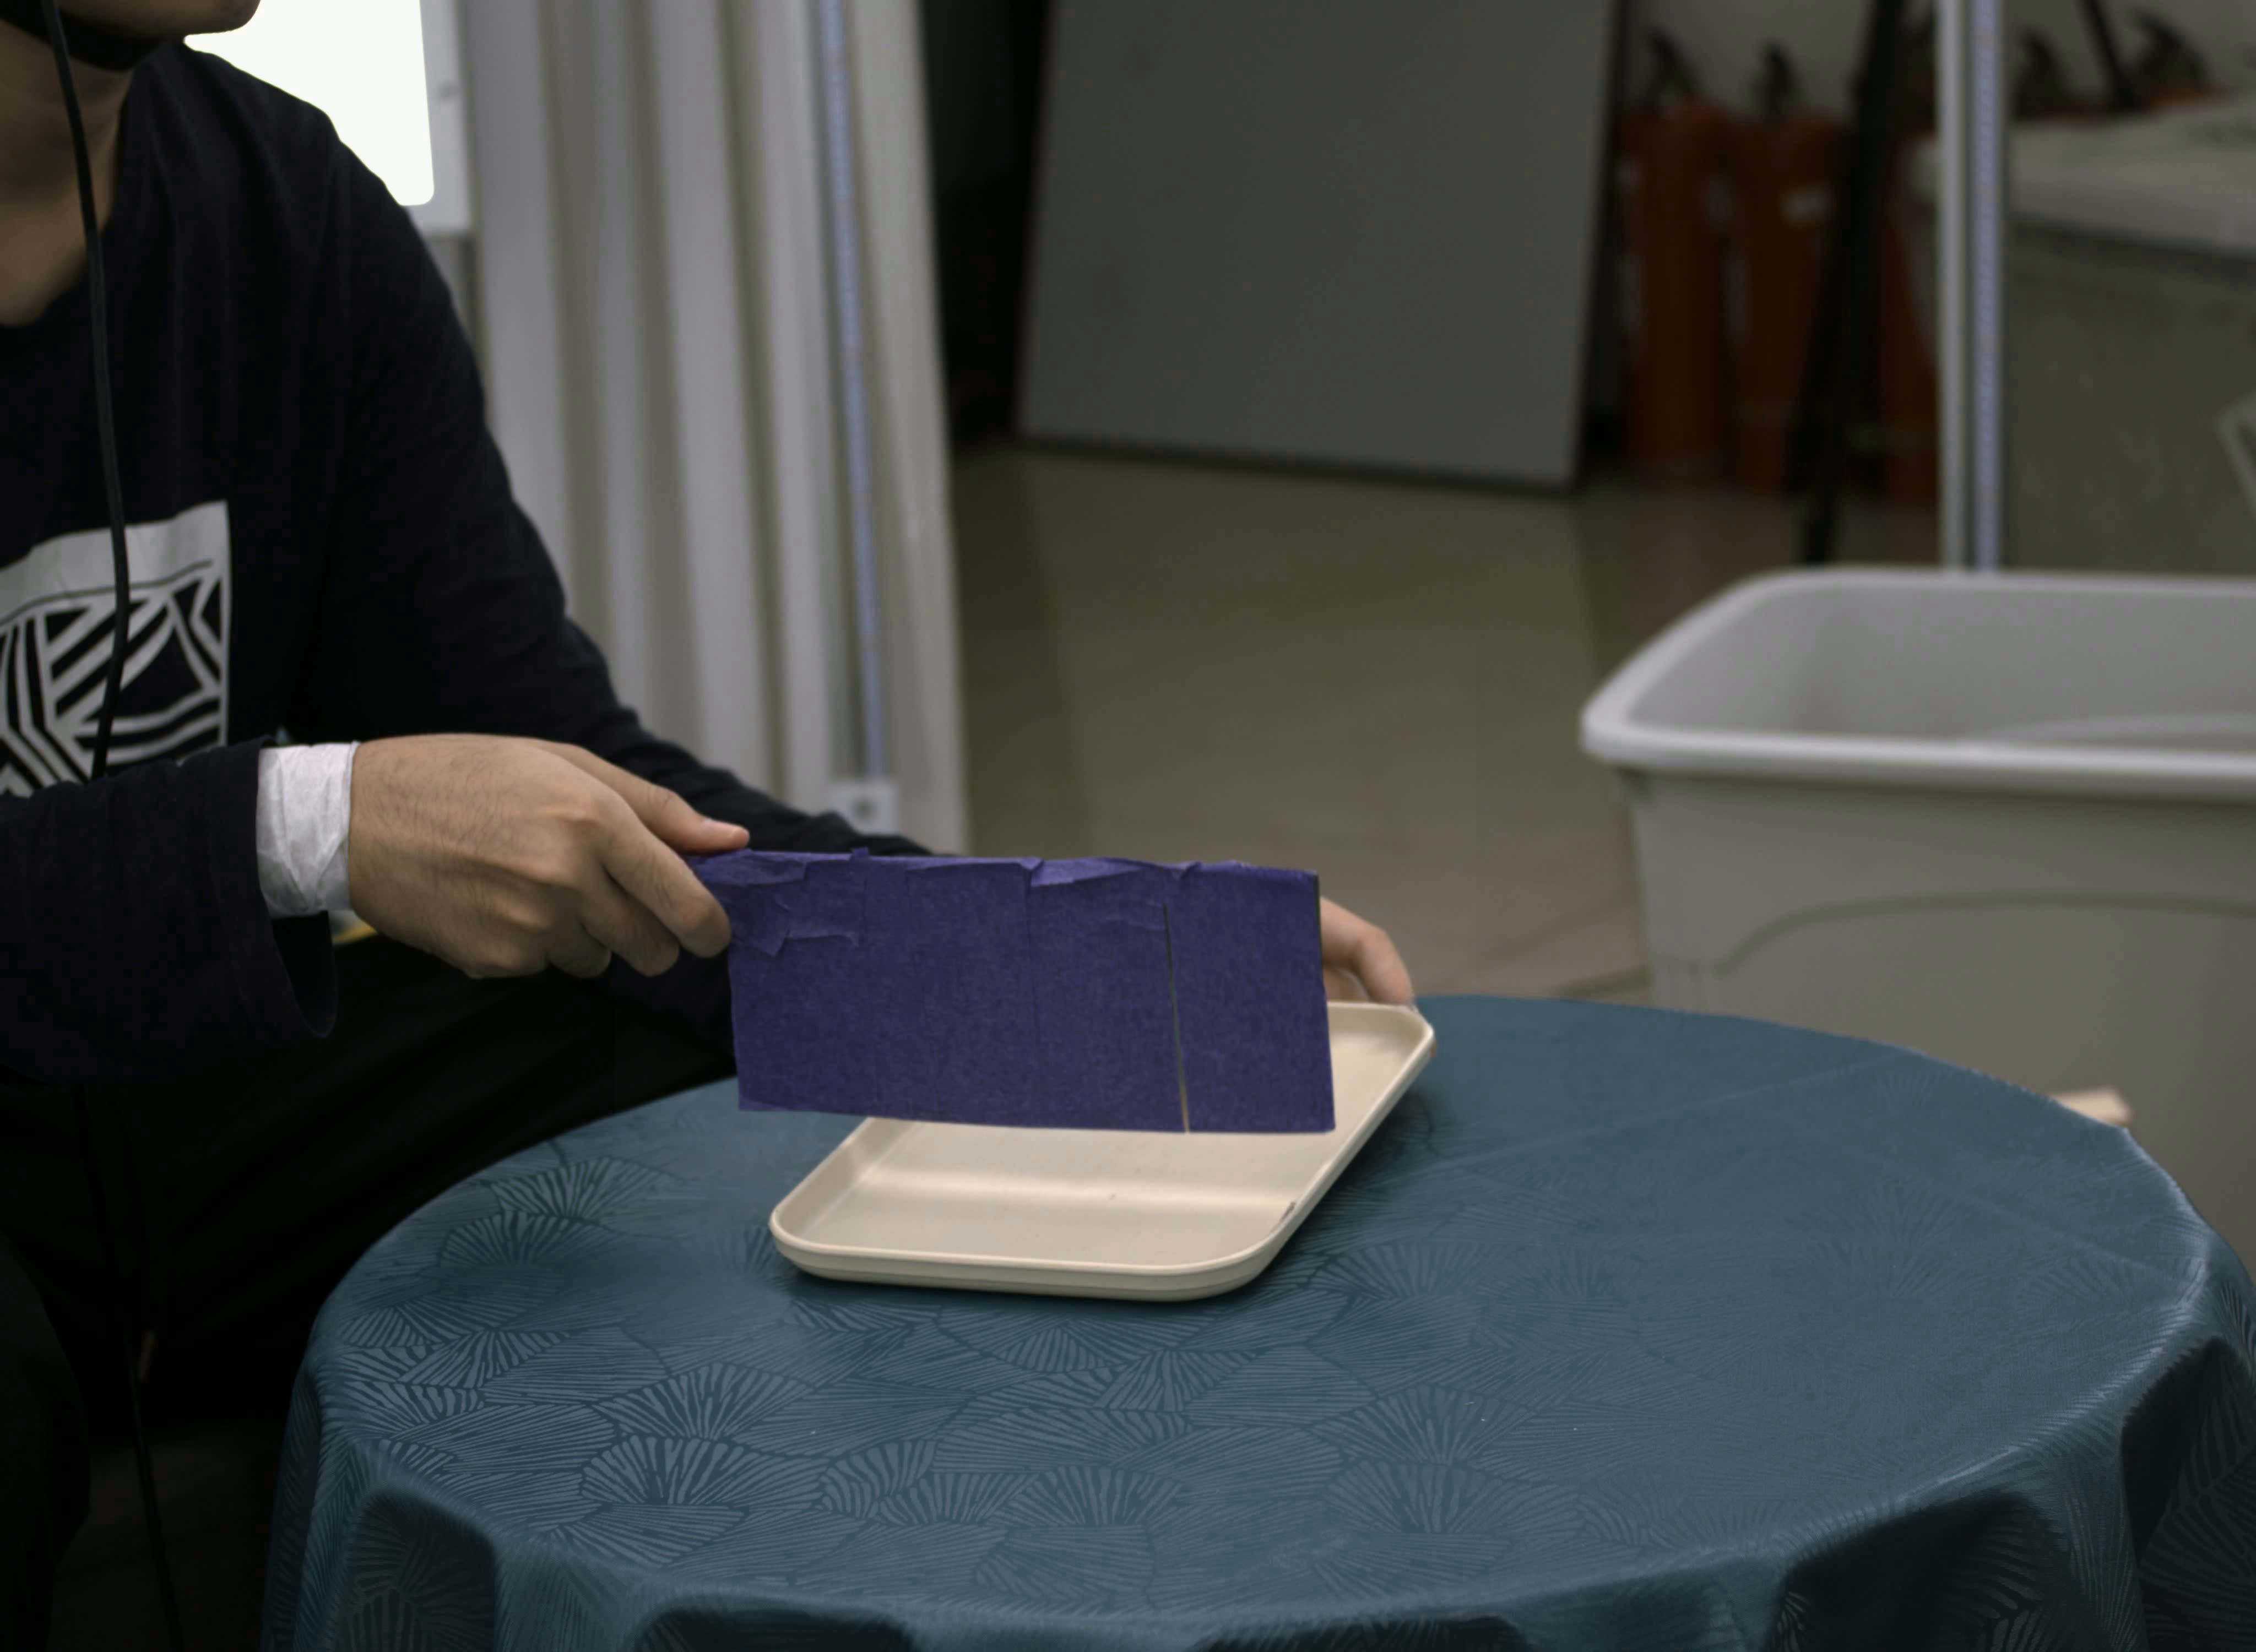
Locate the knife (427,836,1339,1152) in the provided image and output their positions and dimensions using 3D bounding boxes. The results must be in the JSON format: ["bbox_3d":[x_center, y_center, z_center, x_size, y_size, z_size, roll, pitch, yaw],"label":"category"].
[{"bbox_3d":[-0.082,0.052,1.754,0.315,0.105,0.032,1,13,23],"label":"knife"}]

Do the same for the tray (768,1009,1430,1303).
[{"bbox_3d":[-0.005,0.106,1.775,0.171,0.017,0.237,1,18,21],"label":"tray"}]
